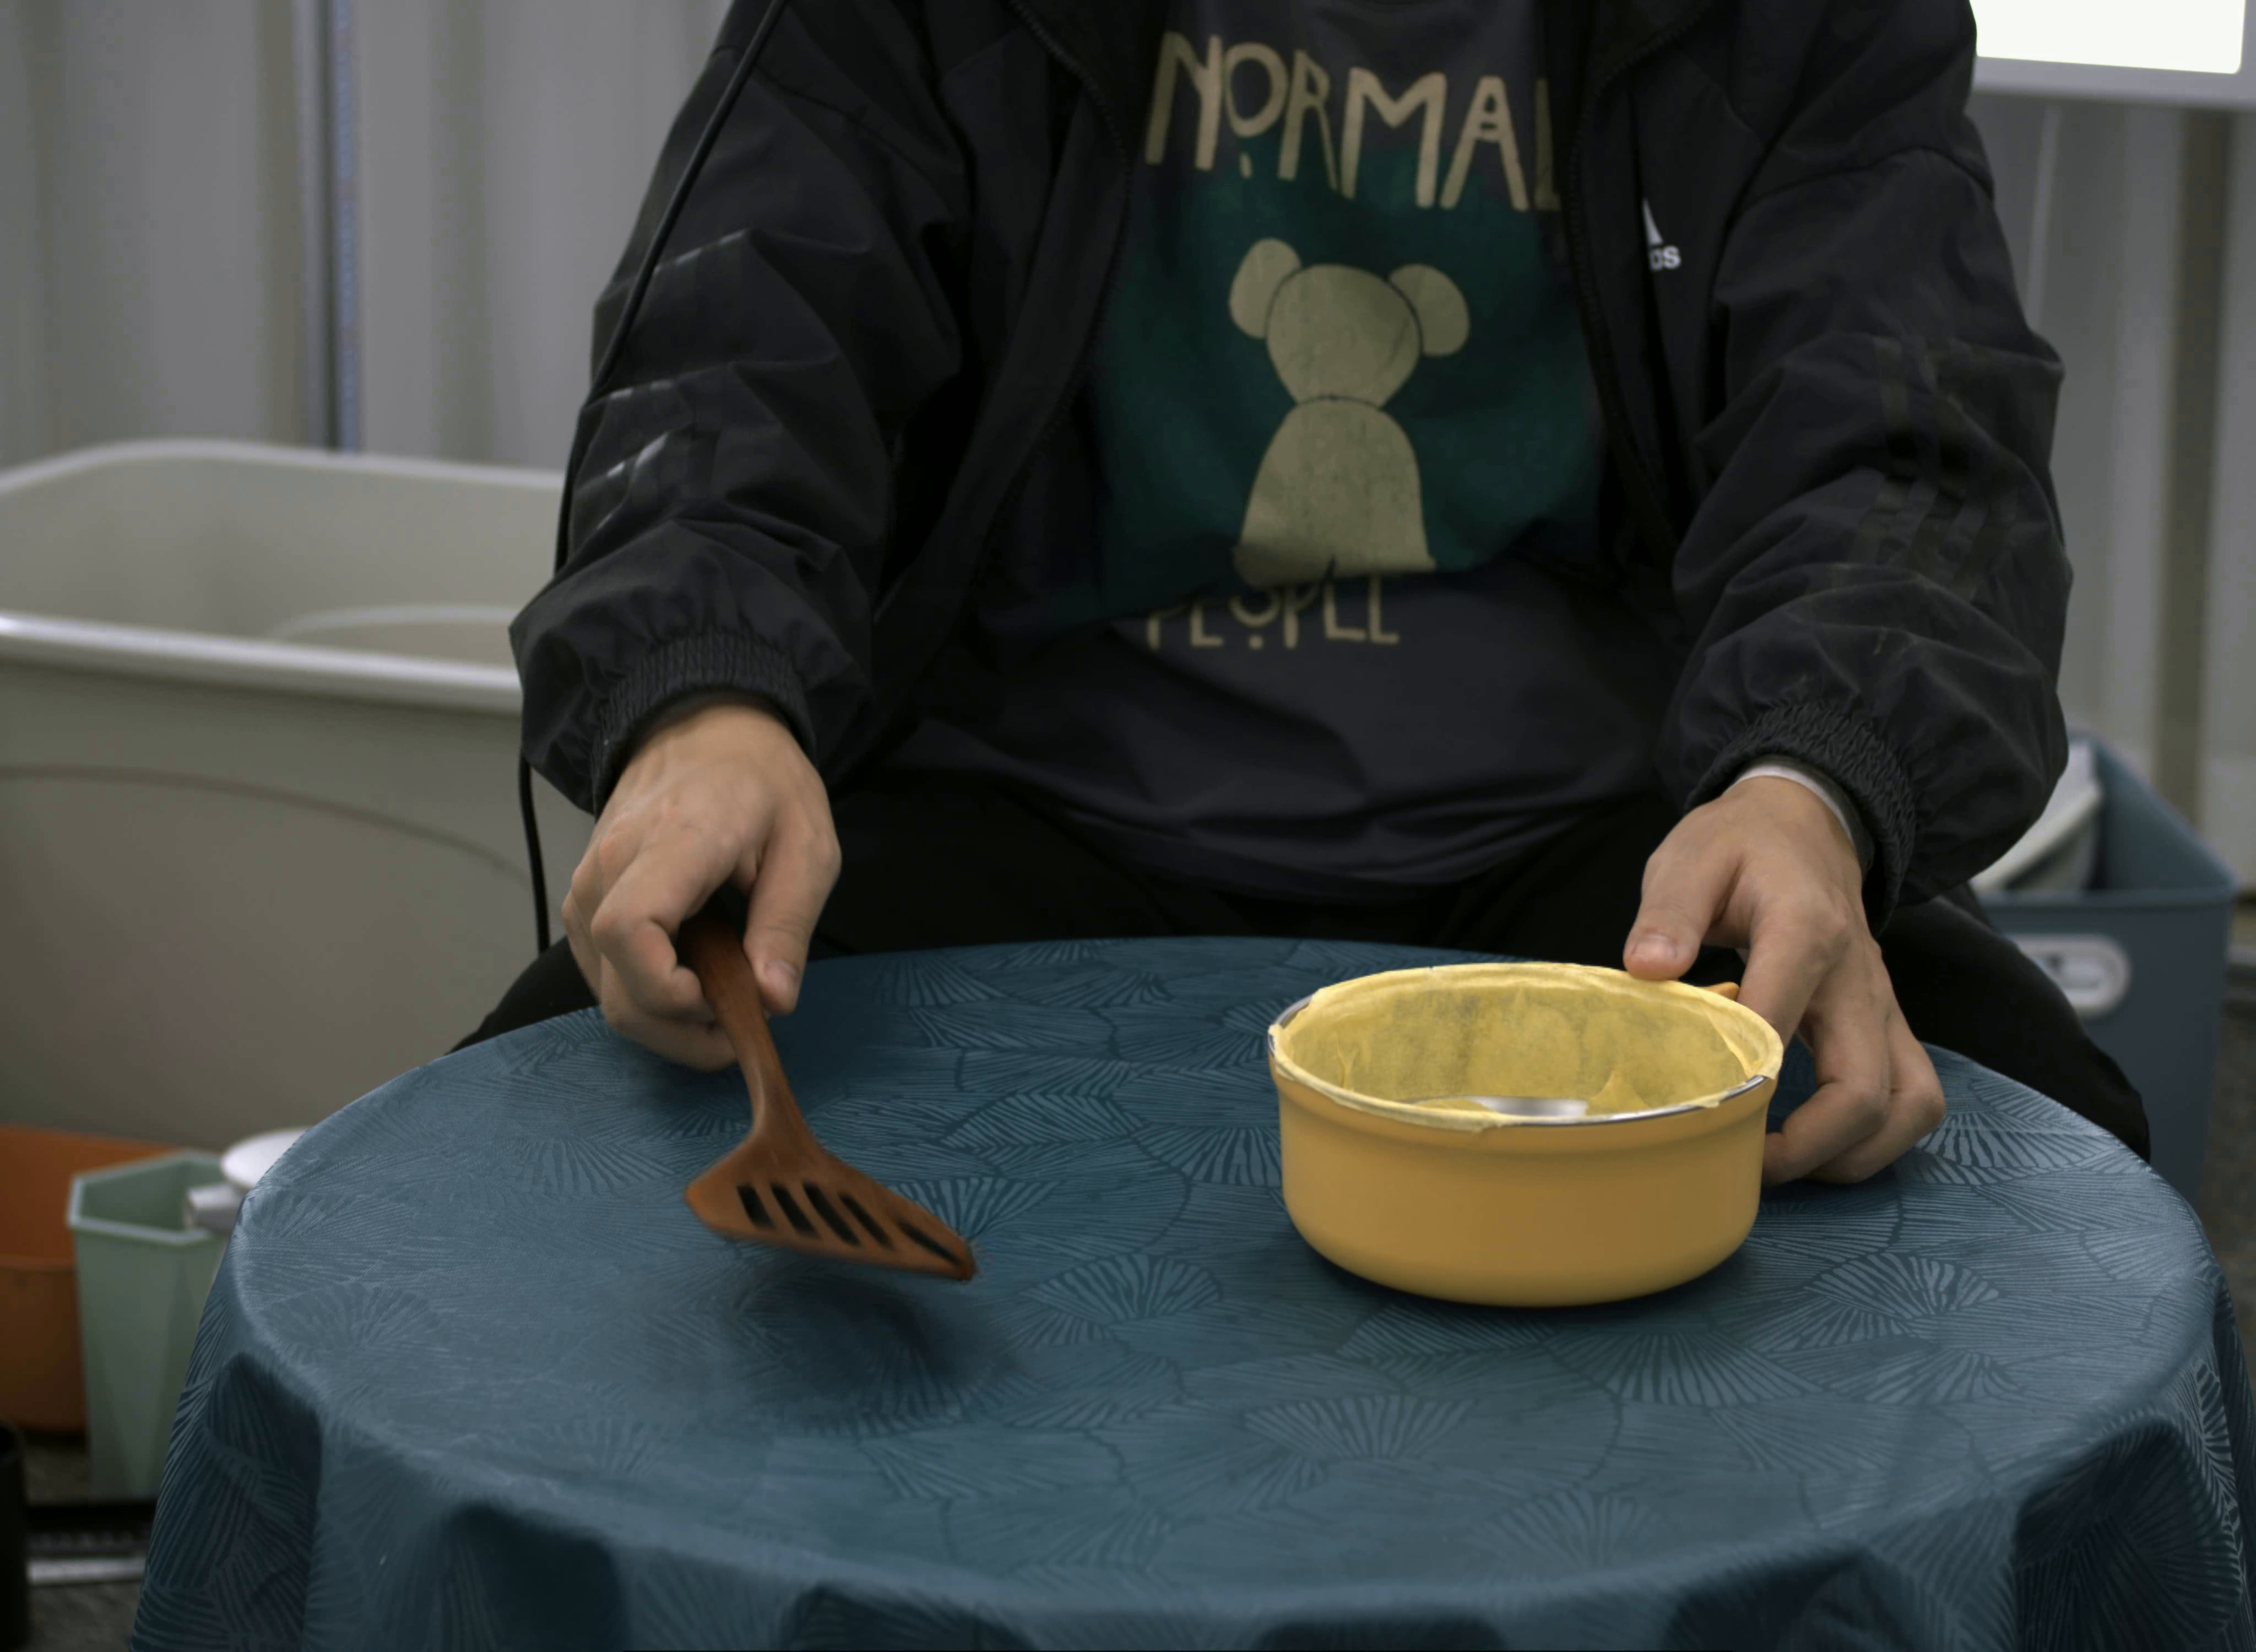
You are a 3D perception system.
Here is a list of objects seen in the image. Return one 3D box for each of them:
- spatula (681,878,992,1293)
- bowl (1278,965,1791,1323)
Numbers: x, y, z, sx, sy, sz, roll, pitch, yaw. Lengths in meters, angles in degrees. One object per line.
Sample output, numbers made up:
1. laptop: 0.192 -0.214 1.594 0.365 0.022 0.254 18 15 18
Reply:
1. spatula: -0.110 0.078 1.627 0.086 0.024 0.383 11 15 -14
2. bowl: 0.127 0.094 1.580 0.151 0.075 0.180 11 19 31
